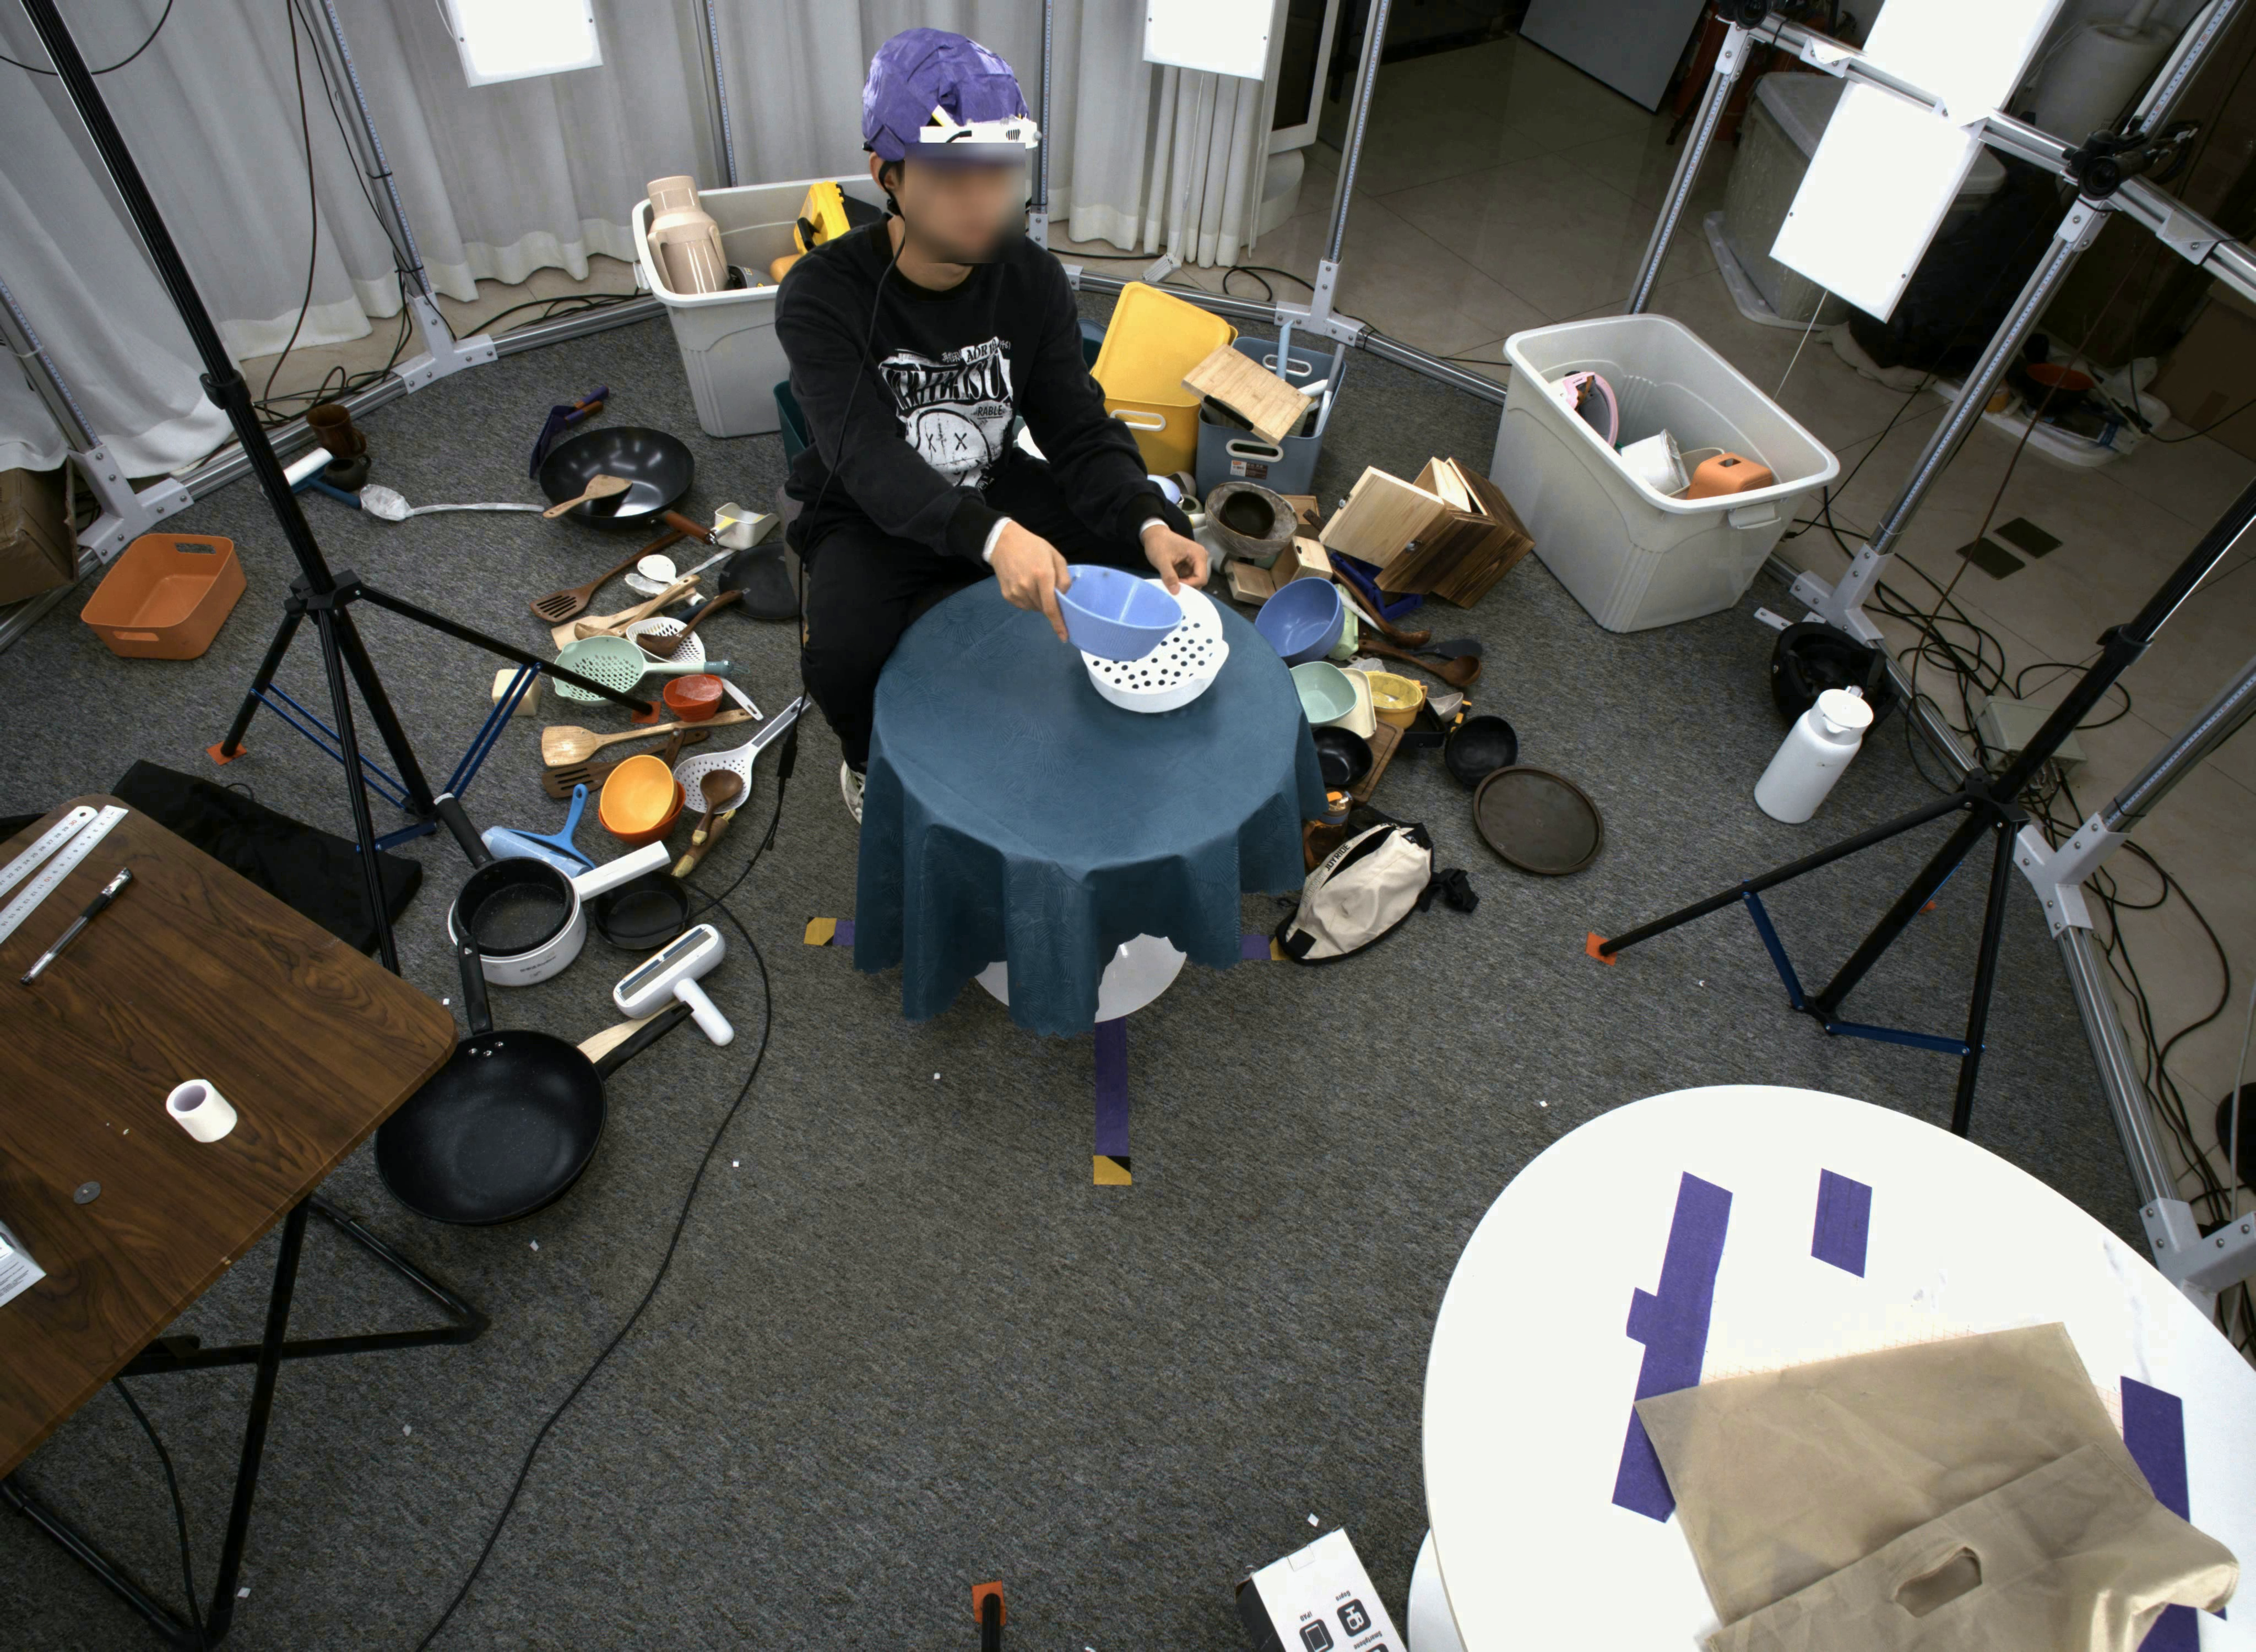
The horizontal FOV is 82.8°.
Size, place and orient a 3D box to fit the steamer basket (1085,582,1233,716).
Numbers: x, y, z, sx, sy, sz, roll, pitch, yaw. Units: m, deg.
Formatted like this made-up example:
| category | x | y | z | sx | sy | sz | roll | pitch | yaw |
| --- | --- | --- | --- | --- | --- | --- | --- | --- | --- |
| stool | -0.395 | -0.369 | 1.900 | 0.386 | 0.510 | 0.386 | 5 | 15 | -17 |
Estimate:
| category | x | y | z | sx | sy | sz | roll | pitch | yaw |
| --- | --- | --- | --- | --- | --- | --- | --- | --- | --- |
| steamer basket | 0.040 | -0.252 | 1.840 | 0.232 | 0.068 | 0.205 | 24 | 65 | 18 |

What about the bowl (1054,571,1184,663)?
| category | x | y | z | sx | sy | sz | roll | pitch | yaw |
| --- | --- | --- | --- | --- | --- | --- | --- | --- | --- |
| bowl | -0.020 | -0.267 | 1.671 | 0.175 | 0.069 | 0.179 | 15 | 27 | -8 |
